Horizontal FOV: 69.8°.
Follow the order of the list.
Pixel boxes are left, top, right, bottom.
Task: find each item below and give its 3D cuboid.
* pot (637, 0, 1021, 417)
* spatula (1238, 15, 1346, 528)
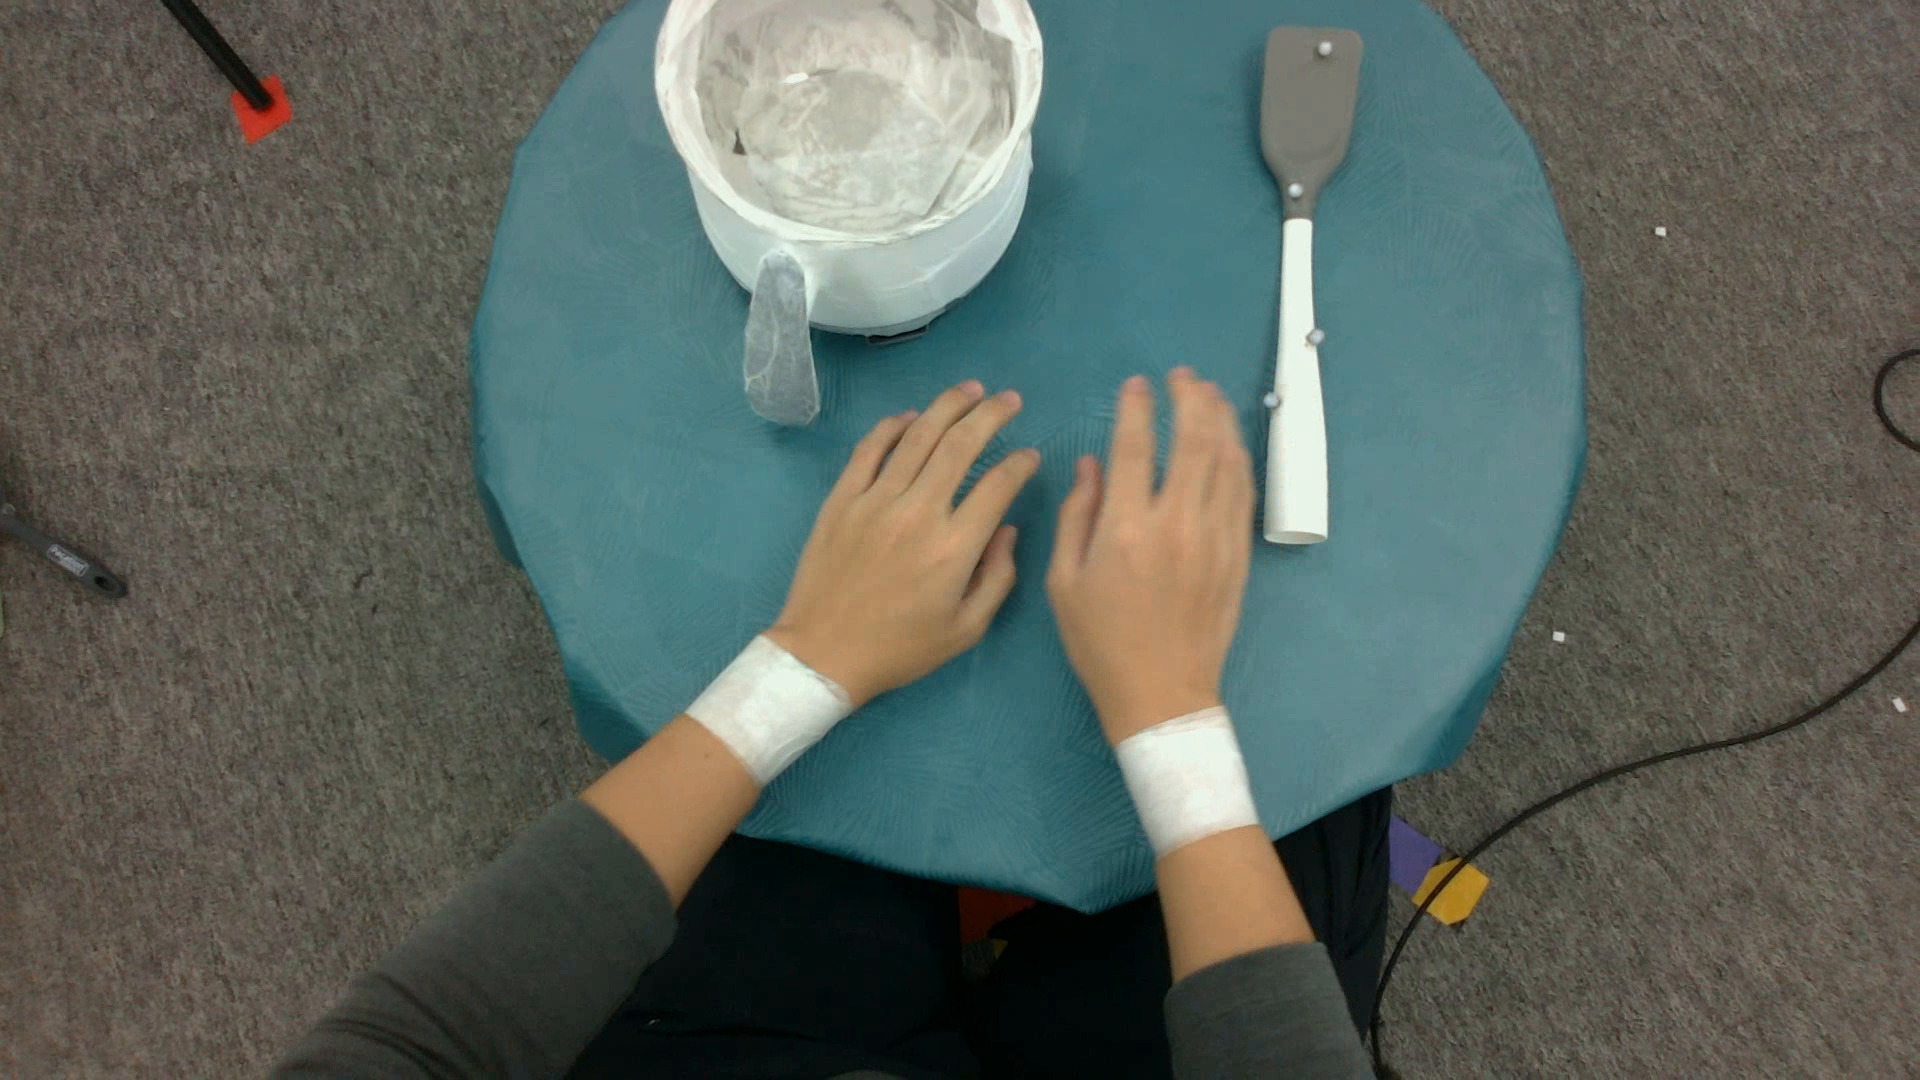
[{"bbox_3d":[-0.069,-0.182,0.691,0.179,0.136,0.234,15,77,2],"label":"pot"},{"bbox_3d":[0.176,-0.149,0.744,0.058,0.032,0.288,4,78,2],"label":"spatula"}]
